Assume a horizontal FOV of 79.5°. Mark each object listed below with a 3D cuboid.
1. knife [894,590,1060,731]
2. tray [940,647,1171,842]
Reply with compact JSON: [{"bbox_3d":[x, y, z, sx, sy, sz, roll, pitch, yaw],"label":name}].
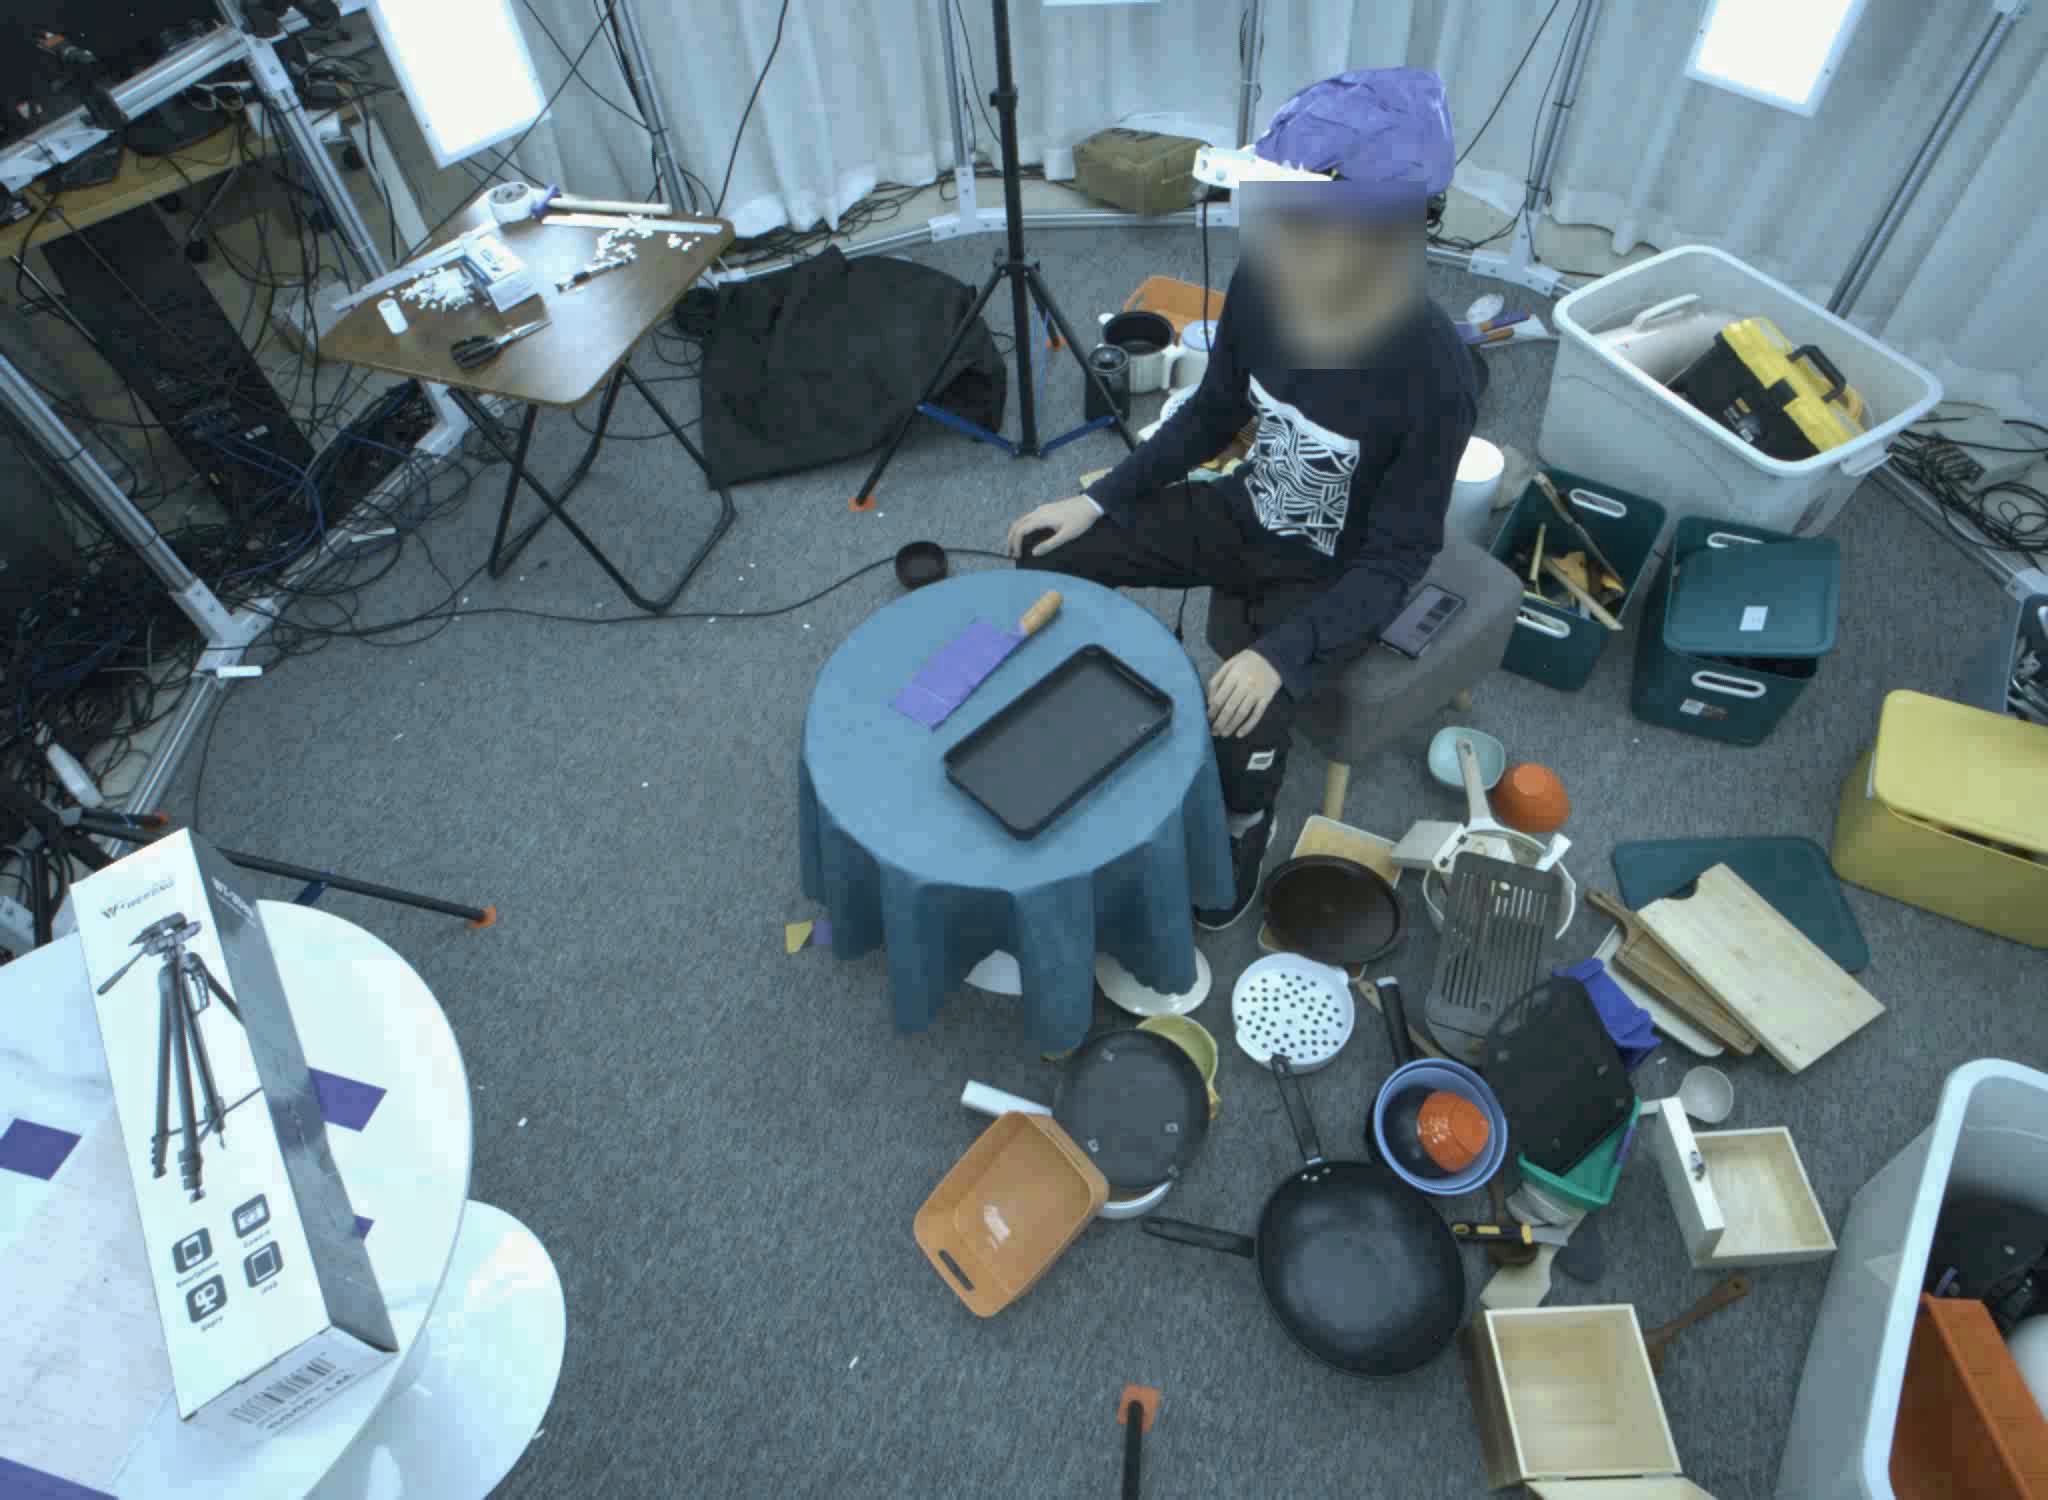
[{"bbox_3d":[-0.074,-0.155,1.891,0.102,0.032,0.317,32,61,22],"label":"knife"},{"bbox_3d":[0.048,-0.015,1.784,0.181,0.037,0.320,38,62,25],"label":"tray"}]
